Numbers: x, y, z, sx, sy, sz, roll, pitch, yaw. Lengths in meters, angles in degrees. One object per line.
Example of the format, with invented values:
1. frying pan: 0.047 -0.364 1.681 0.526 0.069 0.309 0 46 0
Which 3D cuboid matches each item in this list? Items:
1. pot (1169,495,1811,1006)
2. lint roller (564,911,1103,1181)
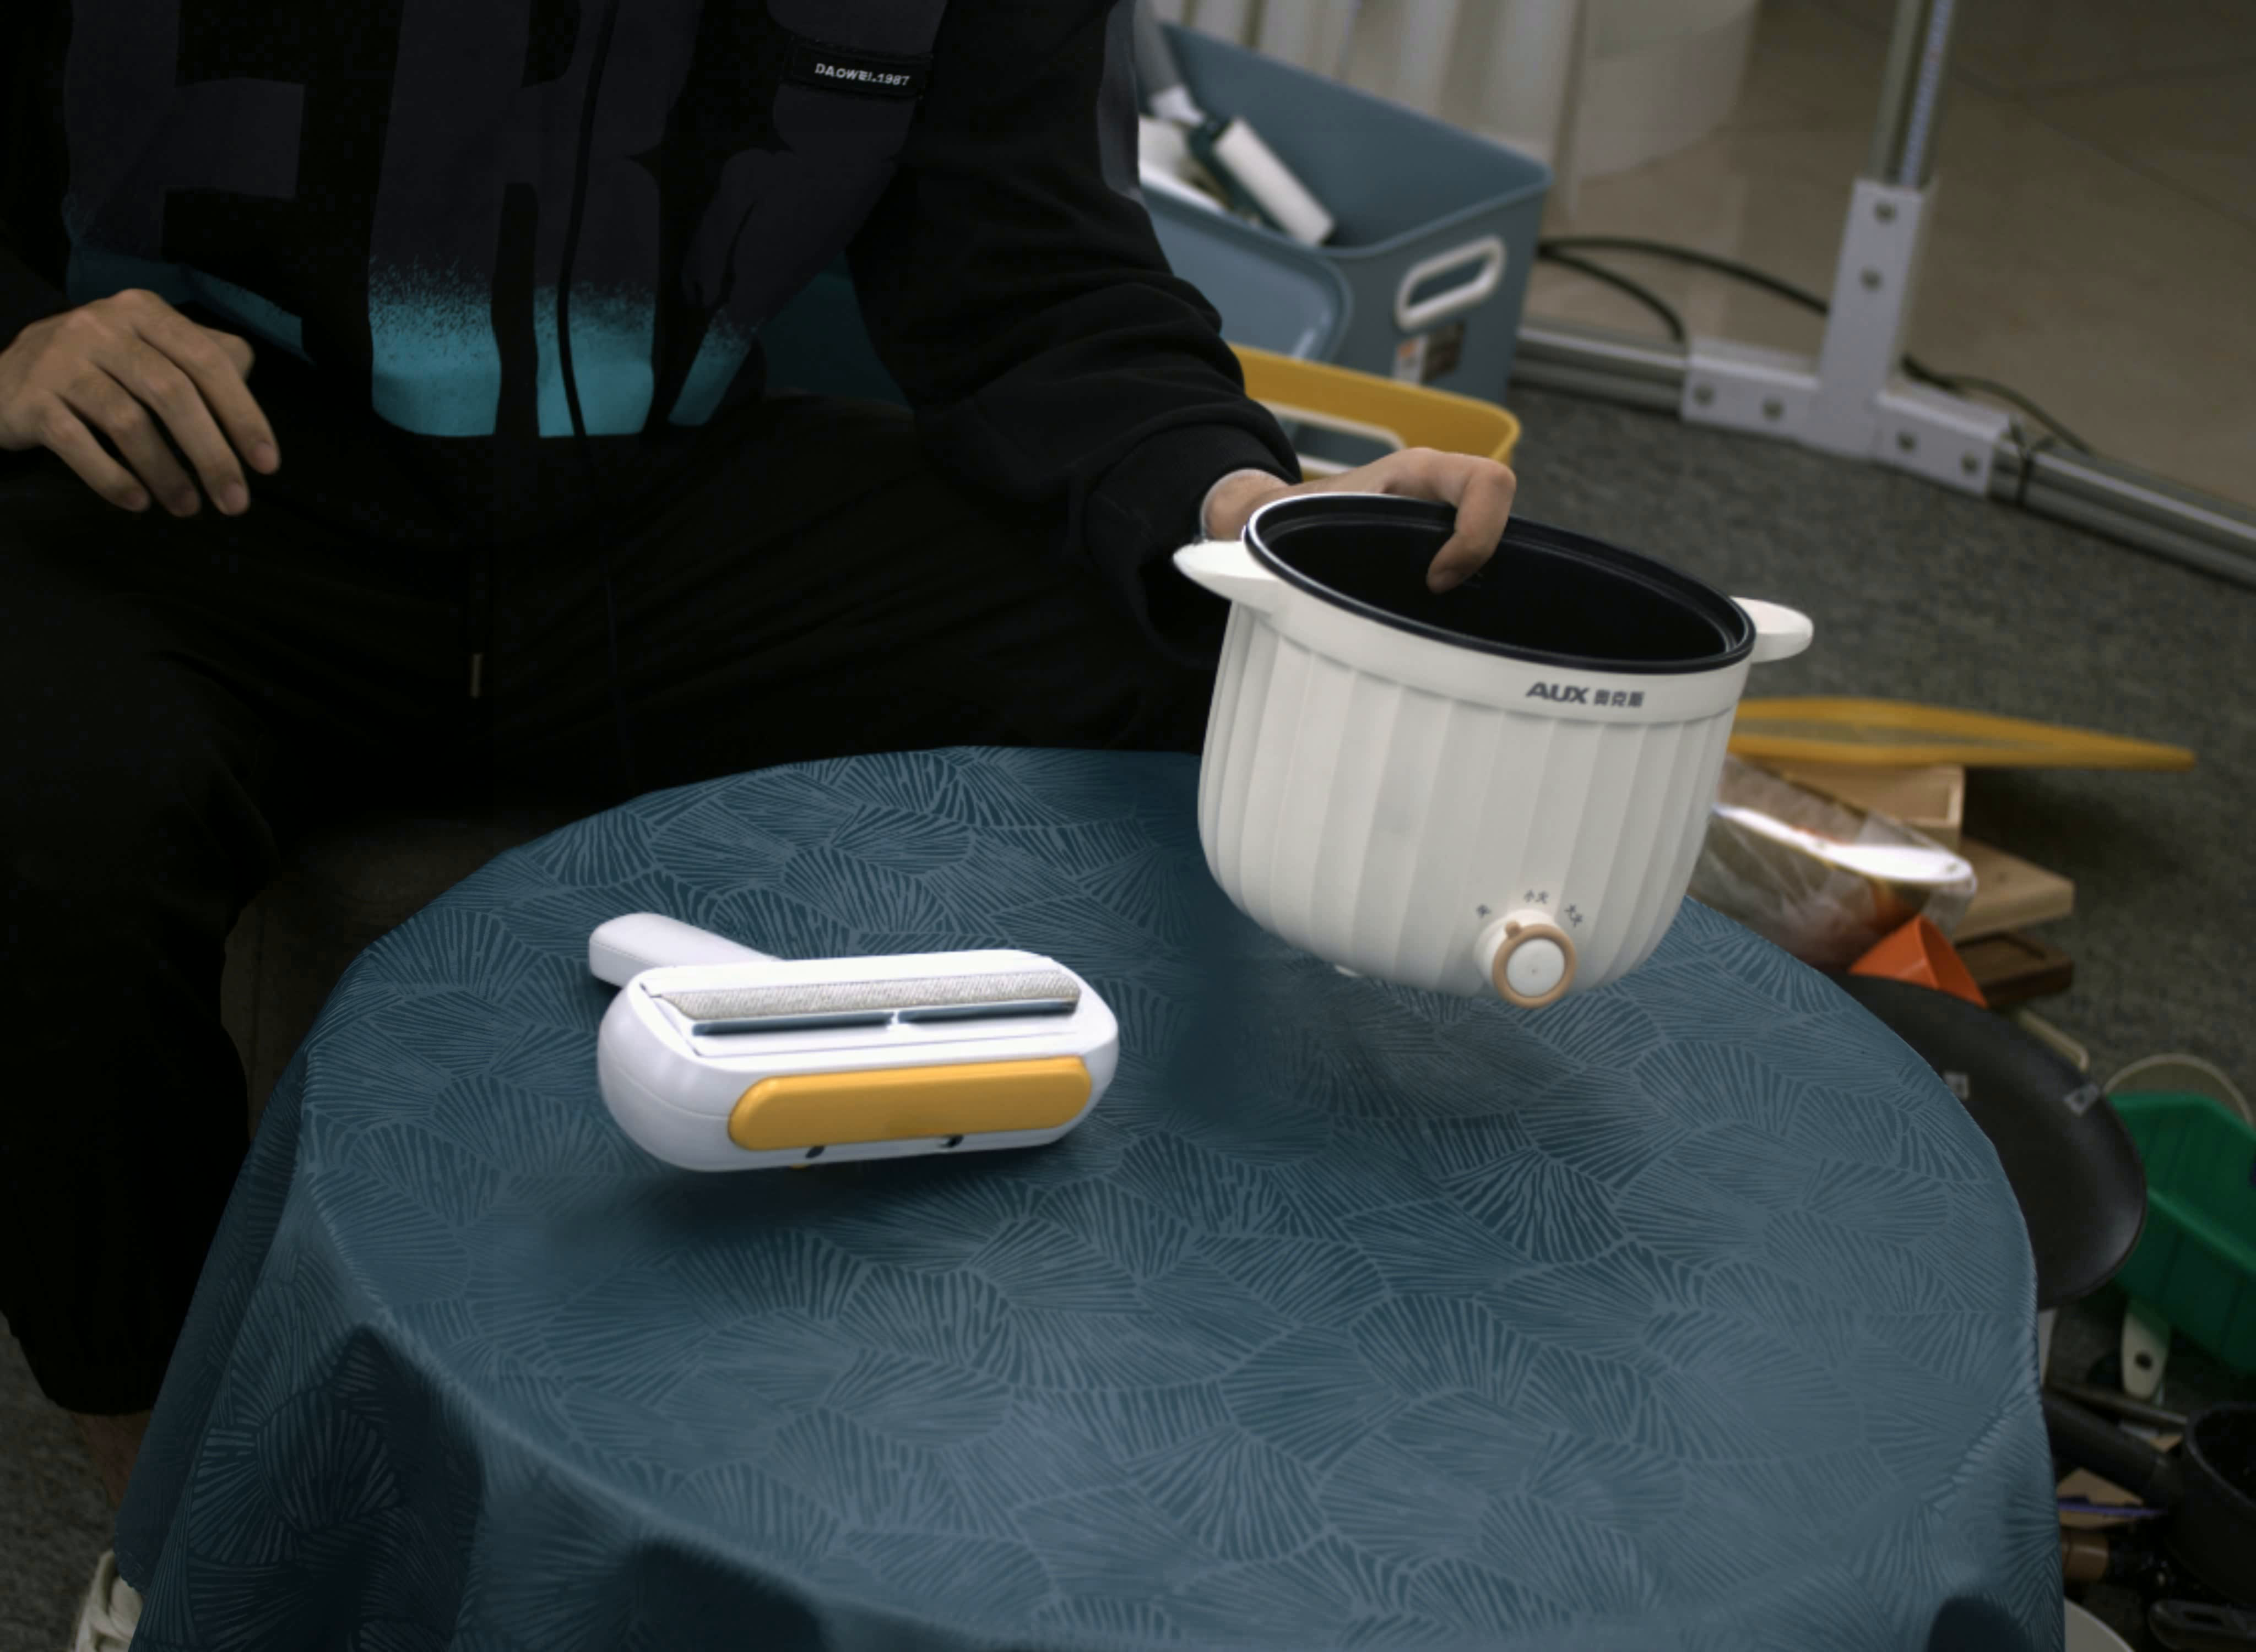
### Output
1. pot: 0.118 -0.023 1.850 0.239 0.142 0.192 4 16 -19
2. lint roller: -0.127 0.061 1.820 0.191 0.074 0.194 -5 26 -33
